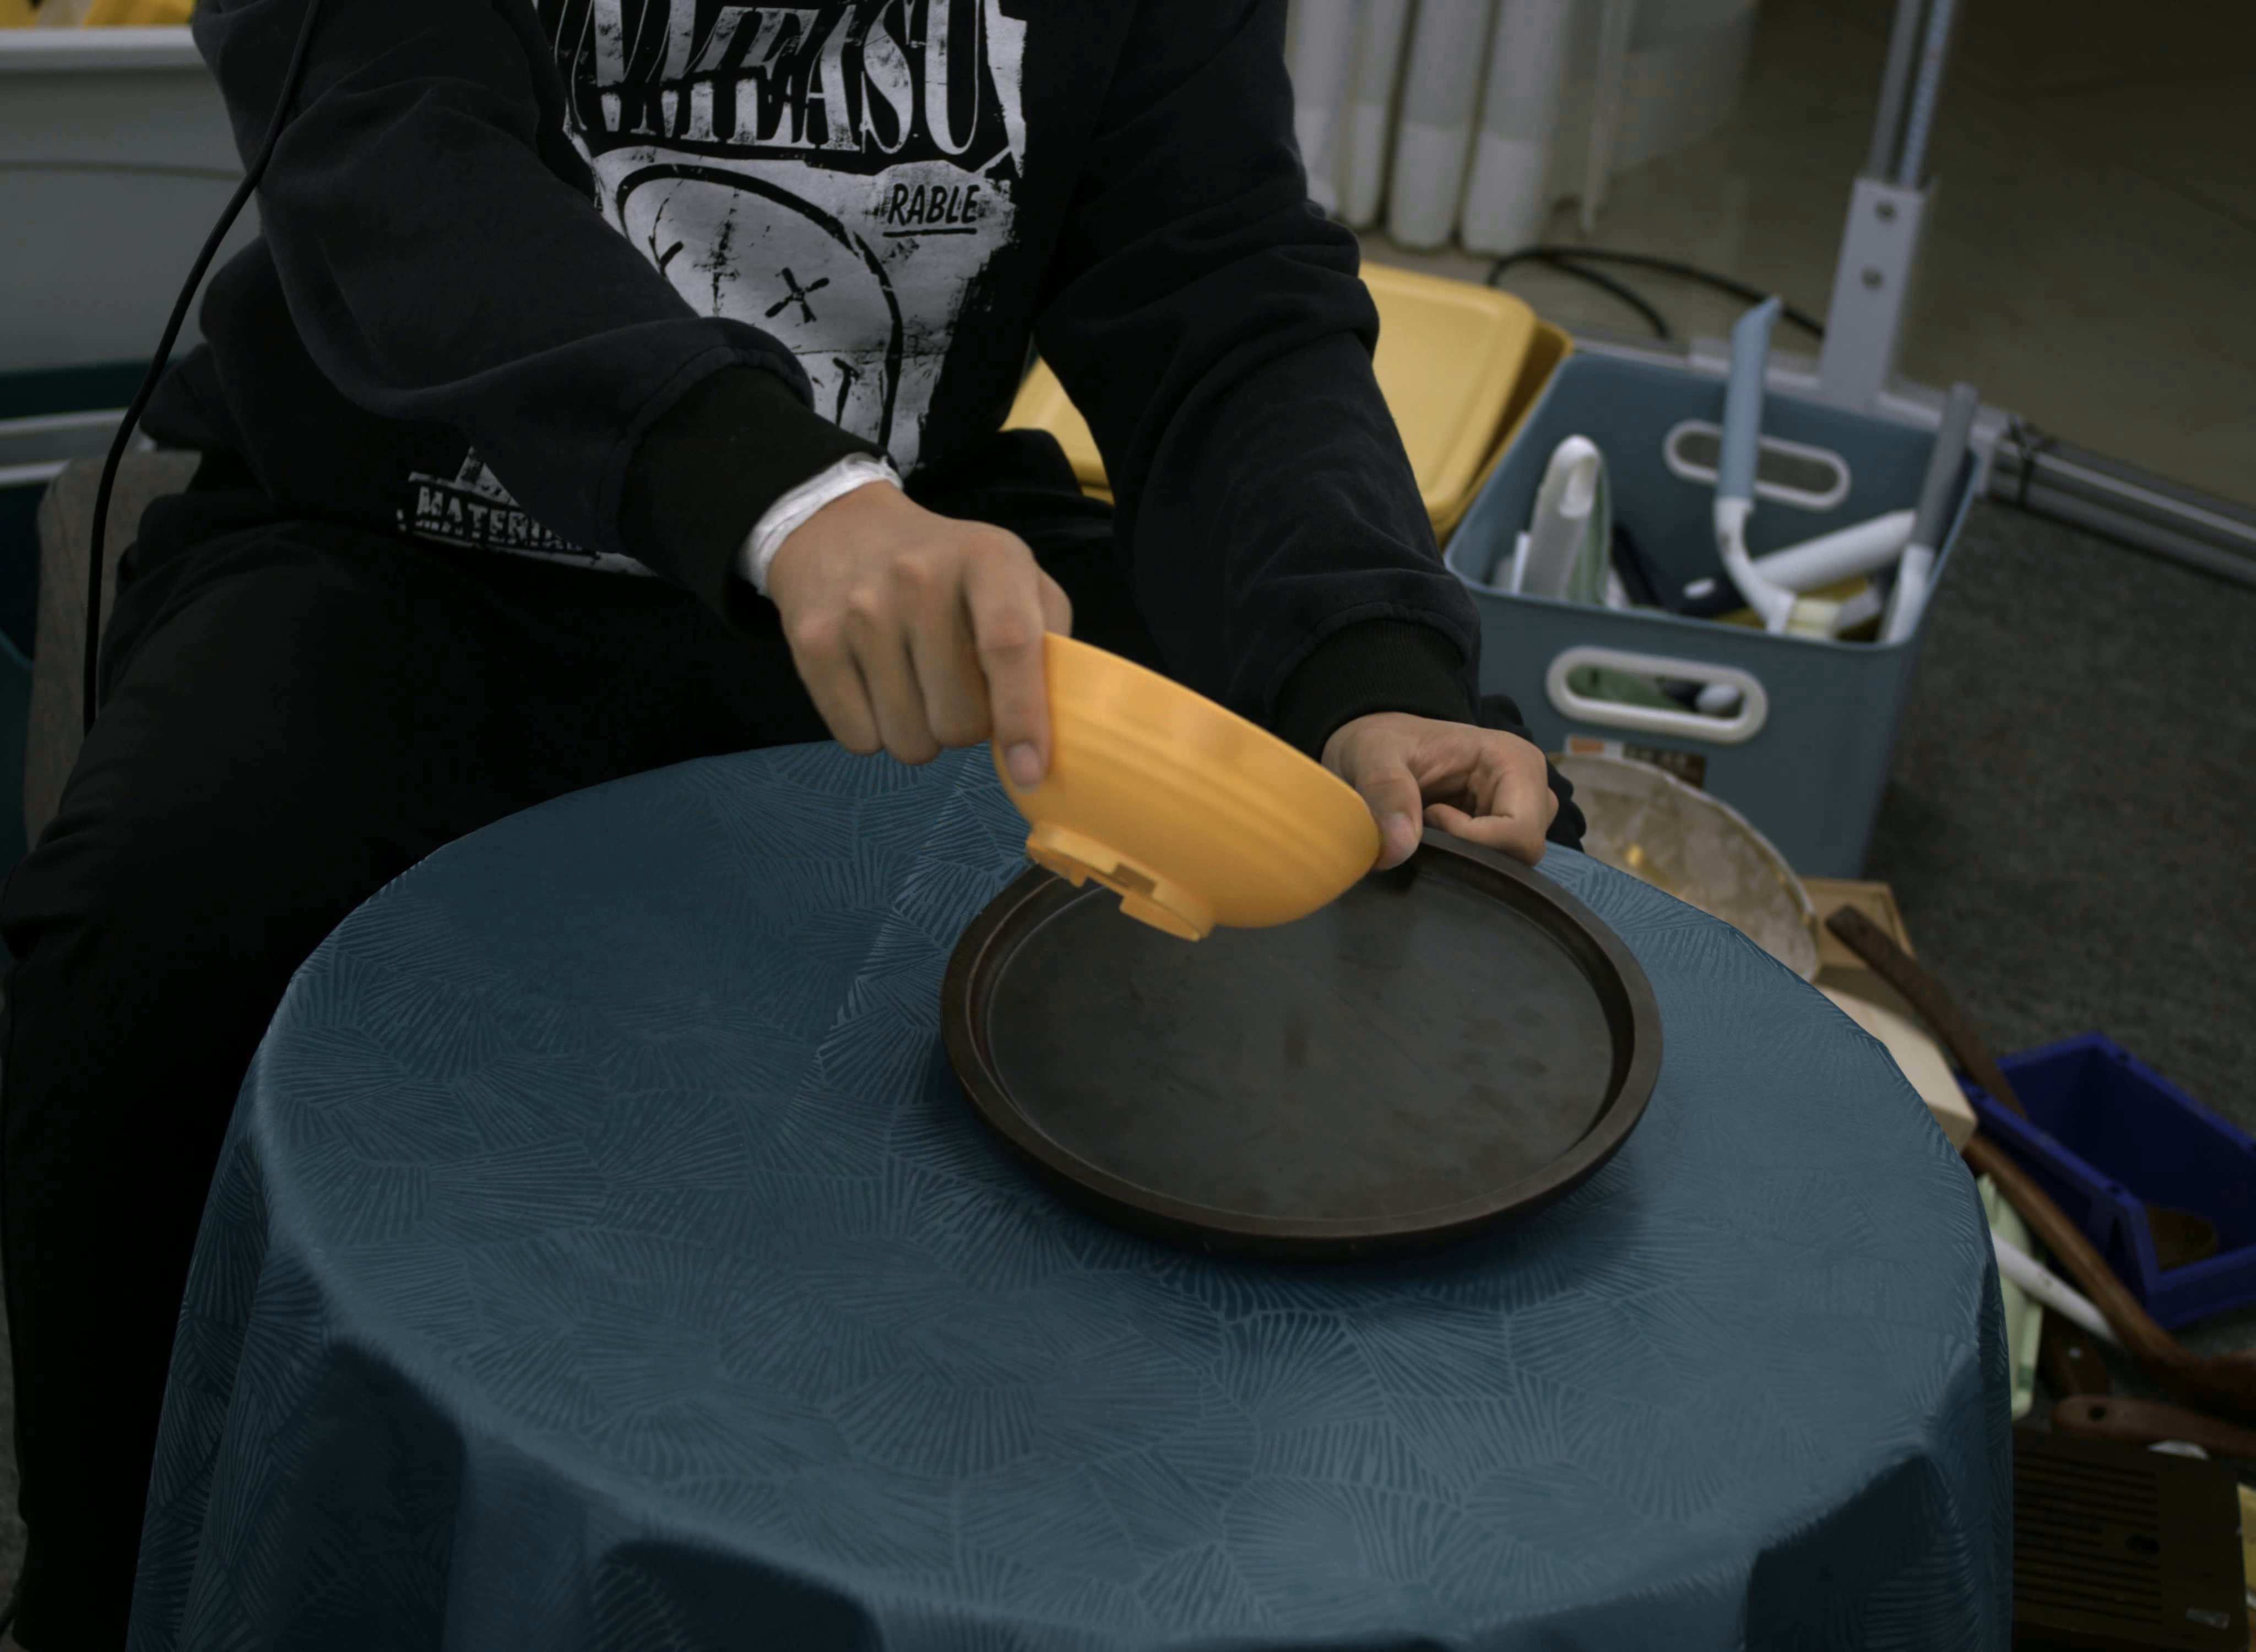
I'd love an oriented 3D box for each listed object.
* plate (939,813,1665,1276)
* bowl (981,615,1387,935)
[{"bbox_3d":[0.060,0.073,1.855,0.254,0.029,0.256,0,34,0],"label":"plate"},{"bbox_3d":[0.007,-0.006,1.707,0.145,0.060,0.145,28,-9,5],"label":"bowl"}]
